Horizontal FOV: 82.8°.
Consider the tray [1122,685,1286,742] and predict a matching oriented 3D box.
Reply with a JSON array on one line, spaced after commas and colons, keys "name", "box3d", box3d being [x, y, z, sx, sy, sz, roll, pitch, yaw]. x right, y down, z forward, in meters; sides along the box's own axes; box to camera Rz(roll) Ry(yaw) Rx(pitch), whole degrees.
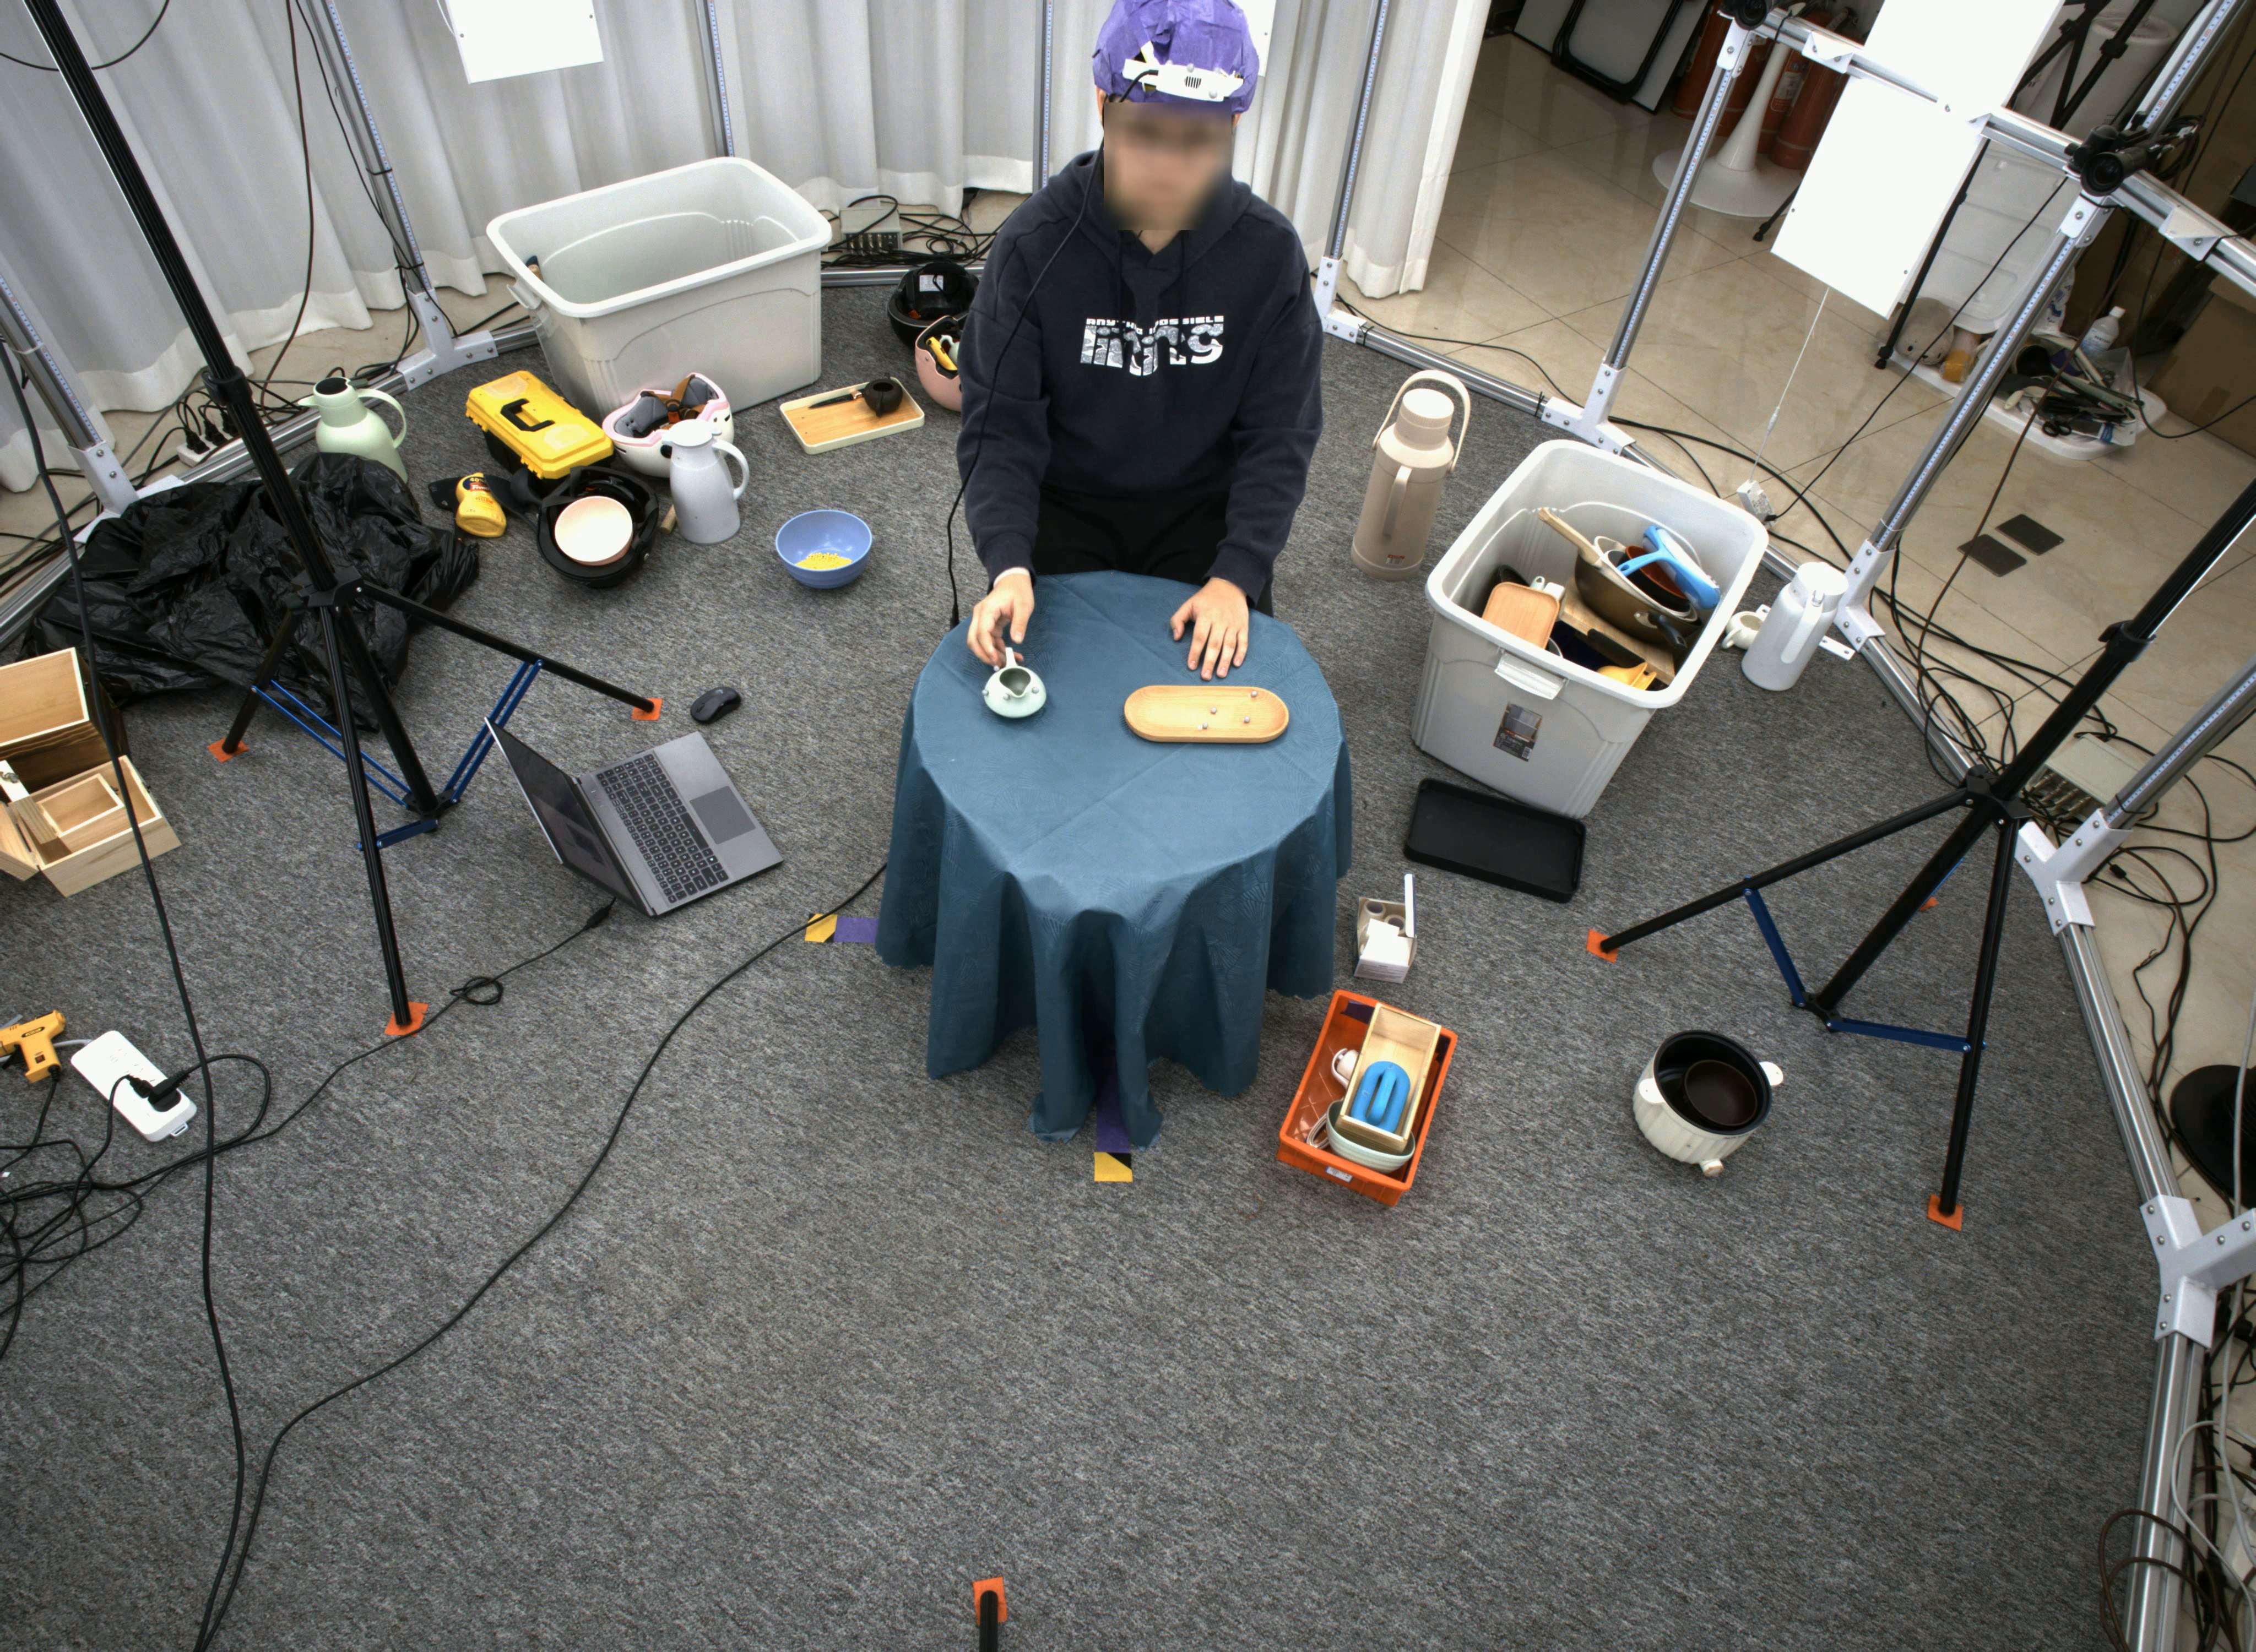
[{"name": "tray", "box3d": [0.107, -0.157, 1.800, 0.231, 0.020, 0.104, -1, 48, -3]}]

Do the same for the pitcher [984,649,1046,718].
[{"name": "pitcher", "box3d": [-0.159, -0.197, 1.788, 0.086, 0.059, 0.111, -7, 48, -12]}]
